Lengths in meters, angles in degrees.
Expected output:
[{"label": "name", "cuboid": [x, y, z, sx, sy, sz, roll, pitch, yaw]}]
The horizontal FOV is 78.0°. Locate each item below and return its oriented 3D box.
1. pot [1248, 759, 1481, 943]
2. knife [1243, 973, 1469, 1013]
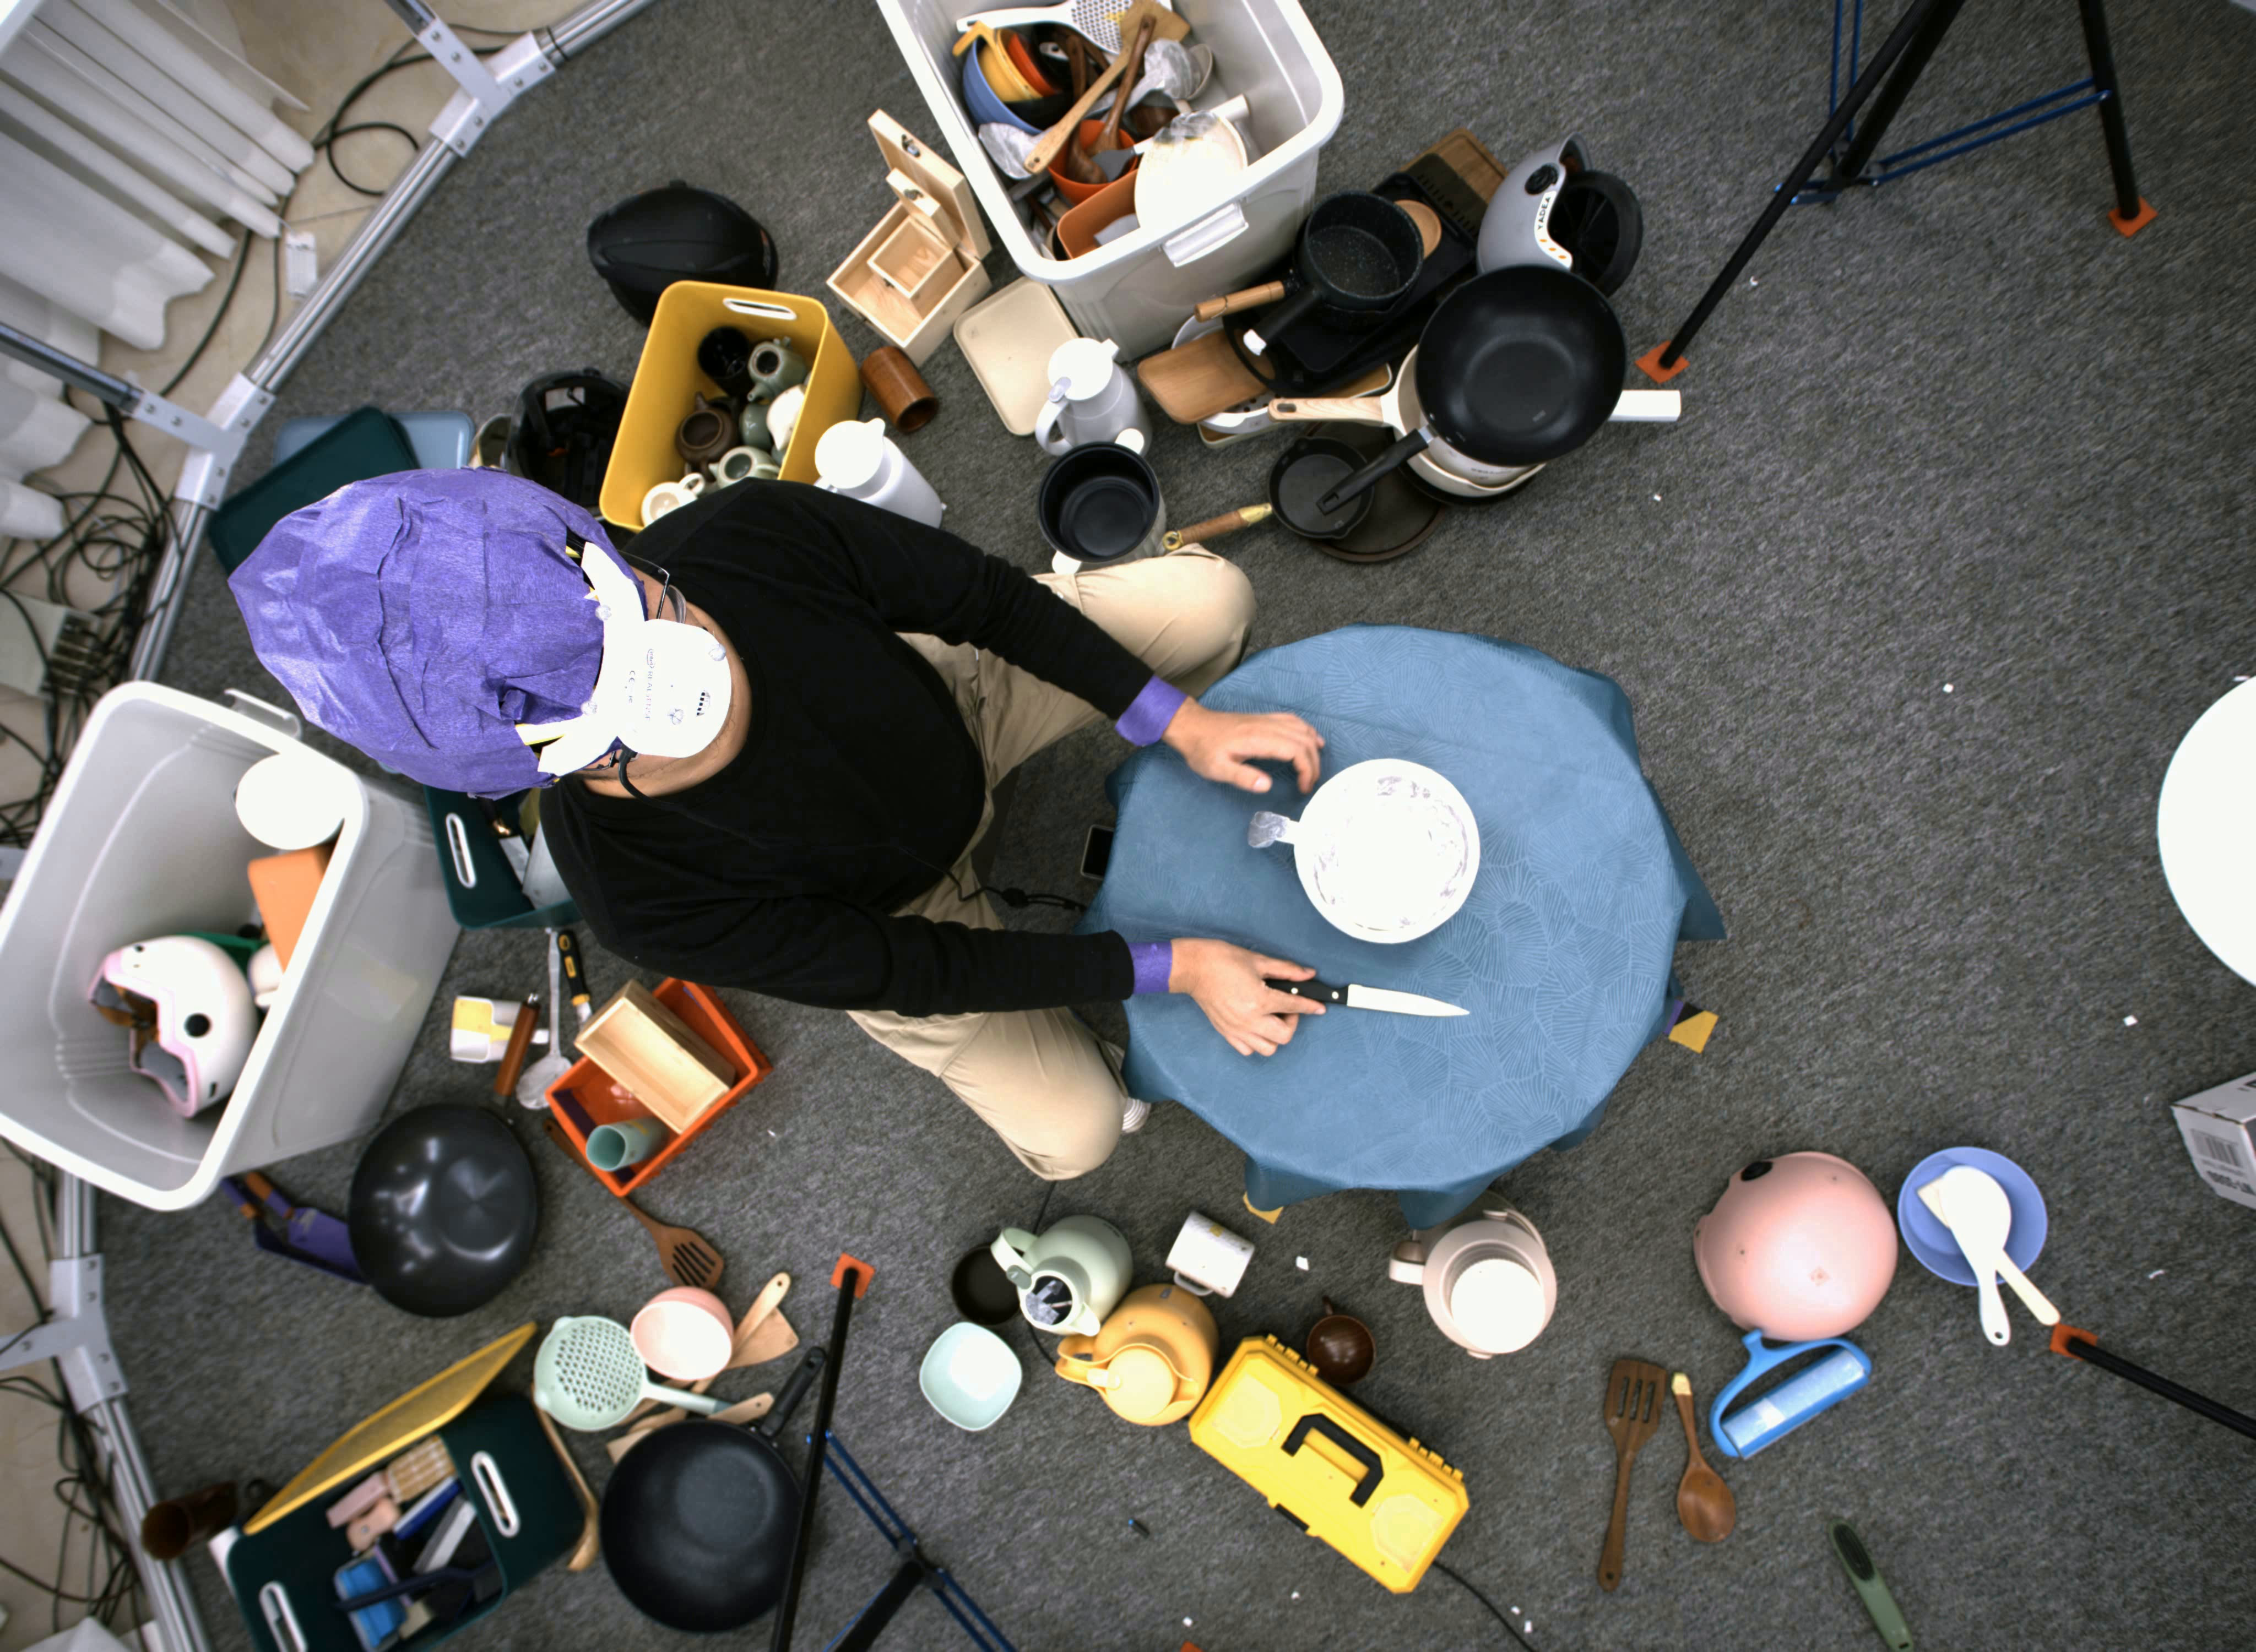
[{"label": "pot", "cuboid": [0.234, 0.023, 1.399, 0.234, 0.137, 0.178, 11, 88, 10]}, {"label": "knife", "cuboid": [0.238, 0.178, 1.456, 0.239, 0.016, 0.024, 6, 74, 8]}]
